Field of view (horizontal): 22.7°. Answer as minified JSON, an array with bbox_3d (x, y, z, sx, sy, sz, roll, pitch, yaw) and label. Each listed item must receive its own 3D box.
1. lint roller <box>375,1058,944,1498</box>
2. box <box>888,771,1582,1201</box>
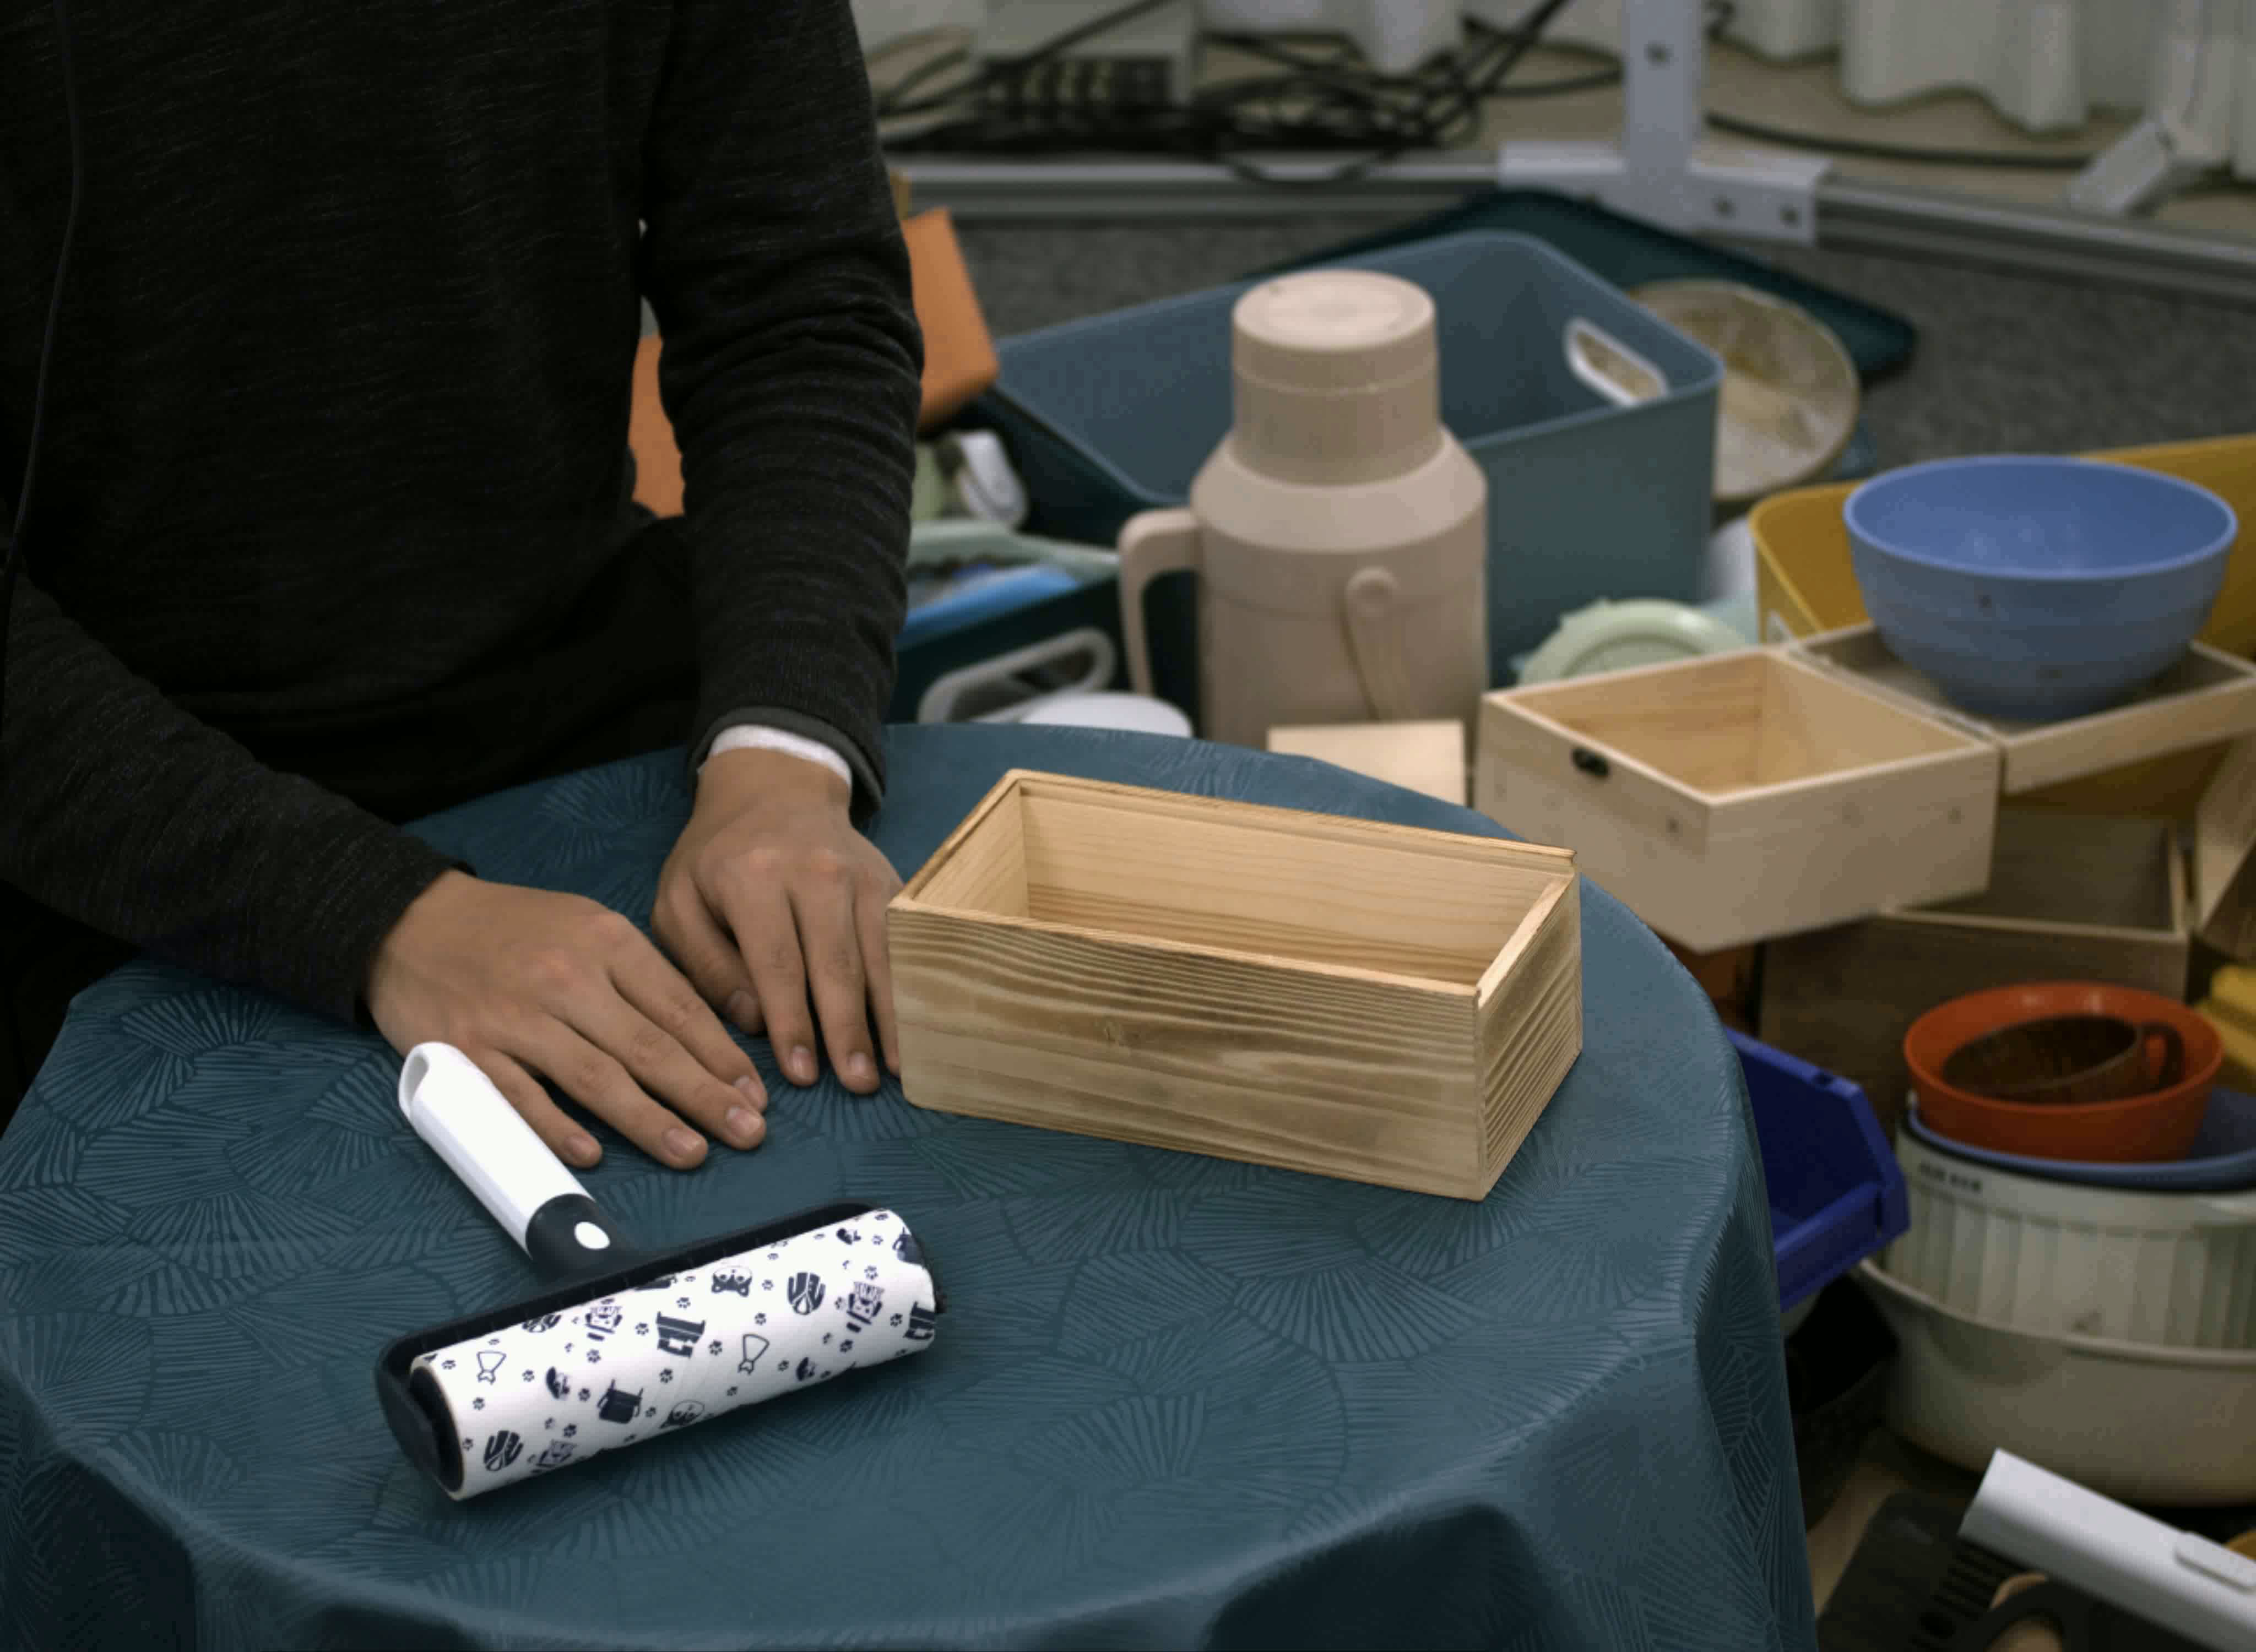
[{"bbox_3d":[-0.189,0.126,1.824,0.177,0.050,0.248,-17,29,-23],"label":"lint roller"},{"bbox_3d":[0.037,0.052,1.906,0.210,0.079,0.109,8,28,21],"label":"box"}]
